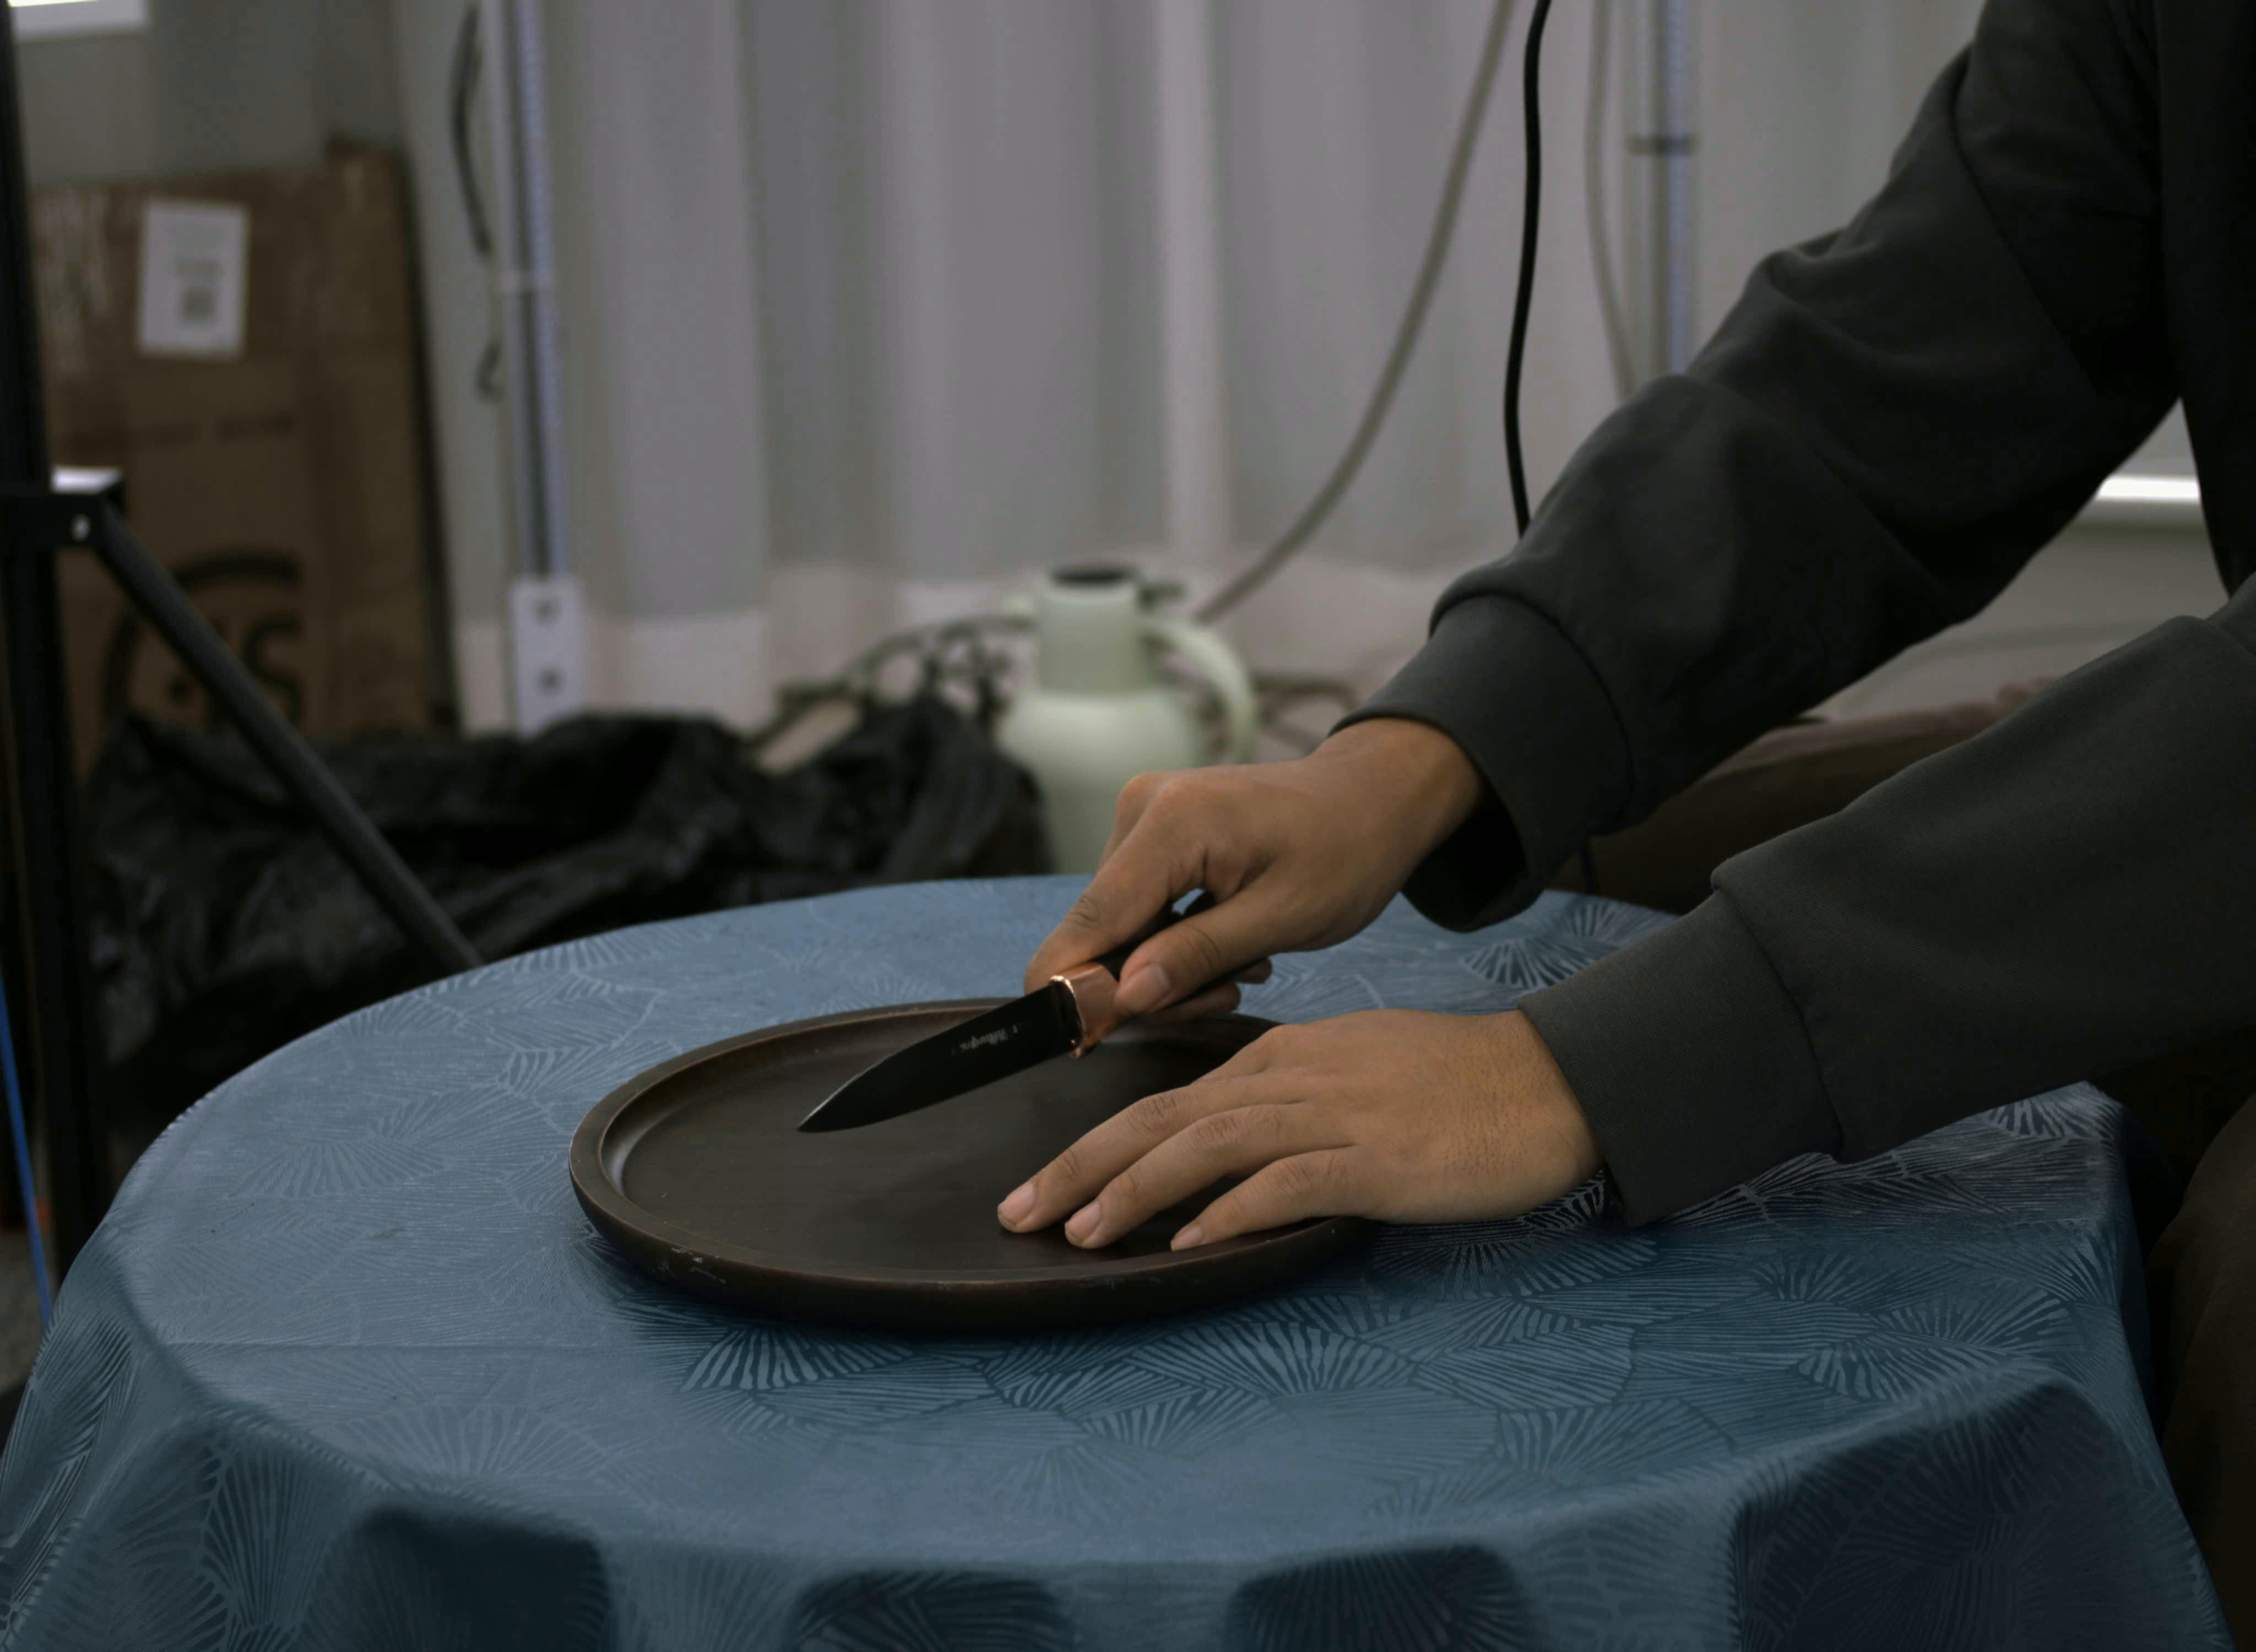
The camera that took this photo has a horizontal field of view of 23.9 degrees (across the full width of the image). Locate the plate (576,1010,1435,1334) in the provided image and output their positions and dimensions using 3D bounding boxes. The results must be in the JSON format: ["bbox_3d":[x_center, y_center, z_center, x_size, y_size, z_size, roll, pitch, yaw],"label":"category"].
[{"bbox_3d":[-0.035,0.098,1.555,0.253,0.029,0.256,-2,14,-1],"label":"plate"}]

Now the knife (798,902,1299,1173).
[{"bbox_3d":[-0.021,0.062,1.597,0.017,0.026,0.221,-6,11,45],"label":"knife"}]
